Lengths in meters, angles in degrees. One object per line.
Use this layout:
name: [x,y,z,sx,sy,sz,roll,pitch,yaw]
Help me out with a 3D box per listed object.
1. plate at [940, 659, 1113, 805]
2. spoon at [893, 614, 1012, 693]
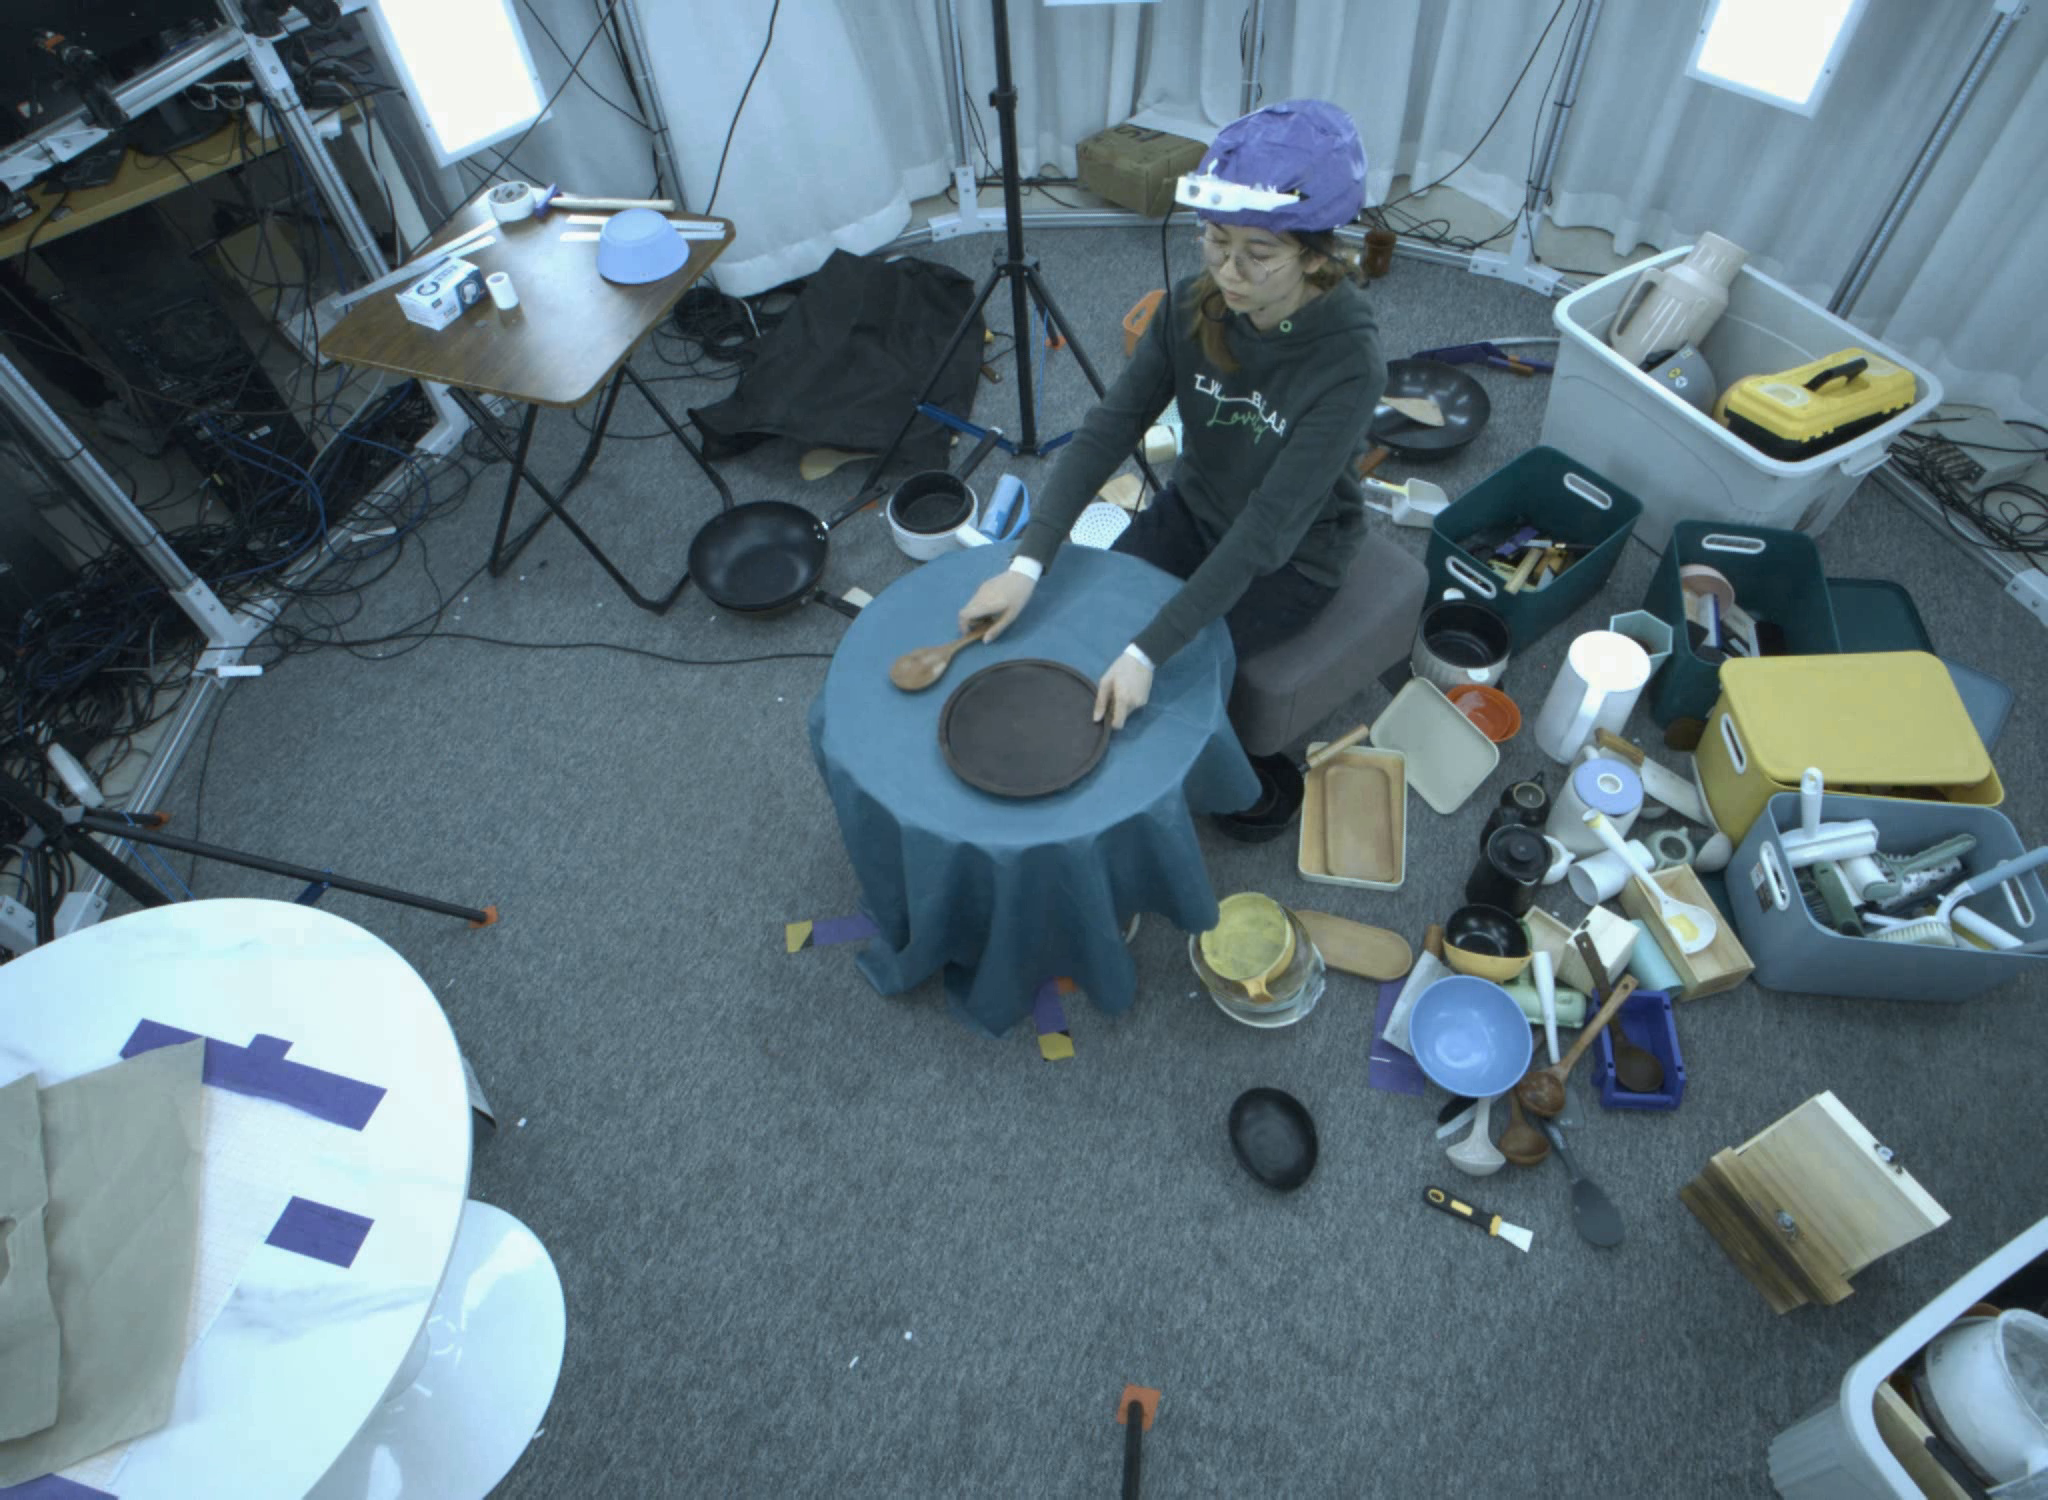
plate: [0.004,-0.026,1.802,0.254,0.029,0.252,0,56,2]
spoon: [-0.107,-0.150,1.896,0.217,0.017,0.074,-34,60,-20]
